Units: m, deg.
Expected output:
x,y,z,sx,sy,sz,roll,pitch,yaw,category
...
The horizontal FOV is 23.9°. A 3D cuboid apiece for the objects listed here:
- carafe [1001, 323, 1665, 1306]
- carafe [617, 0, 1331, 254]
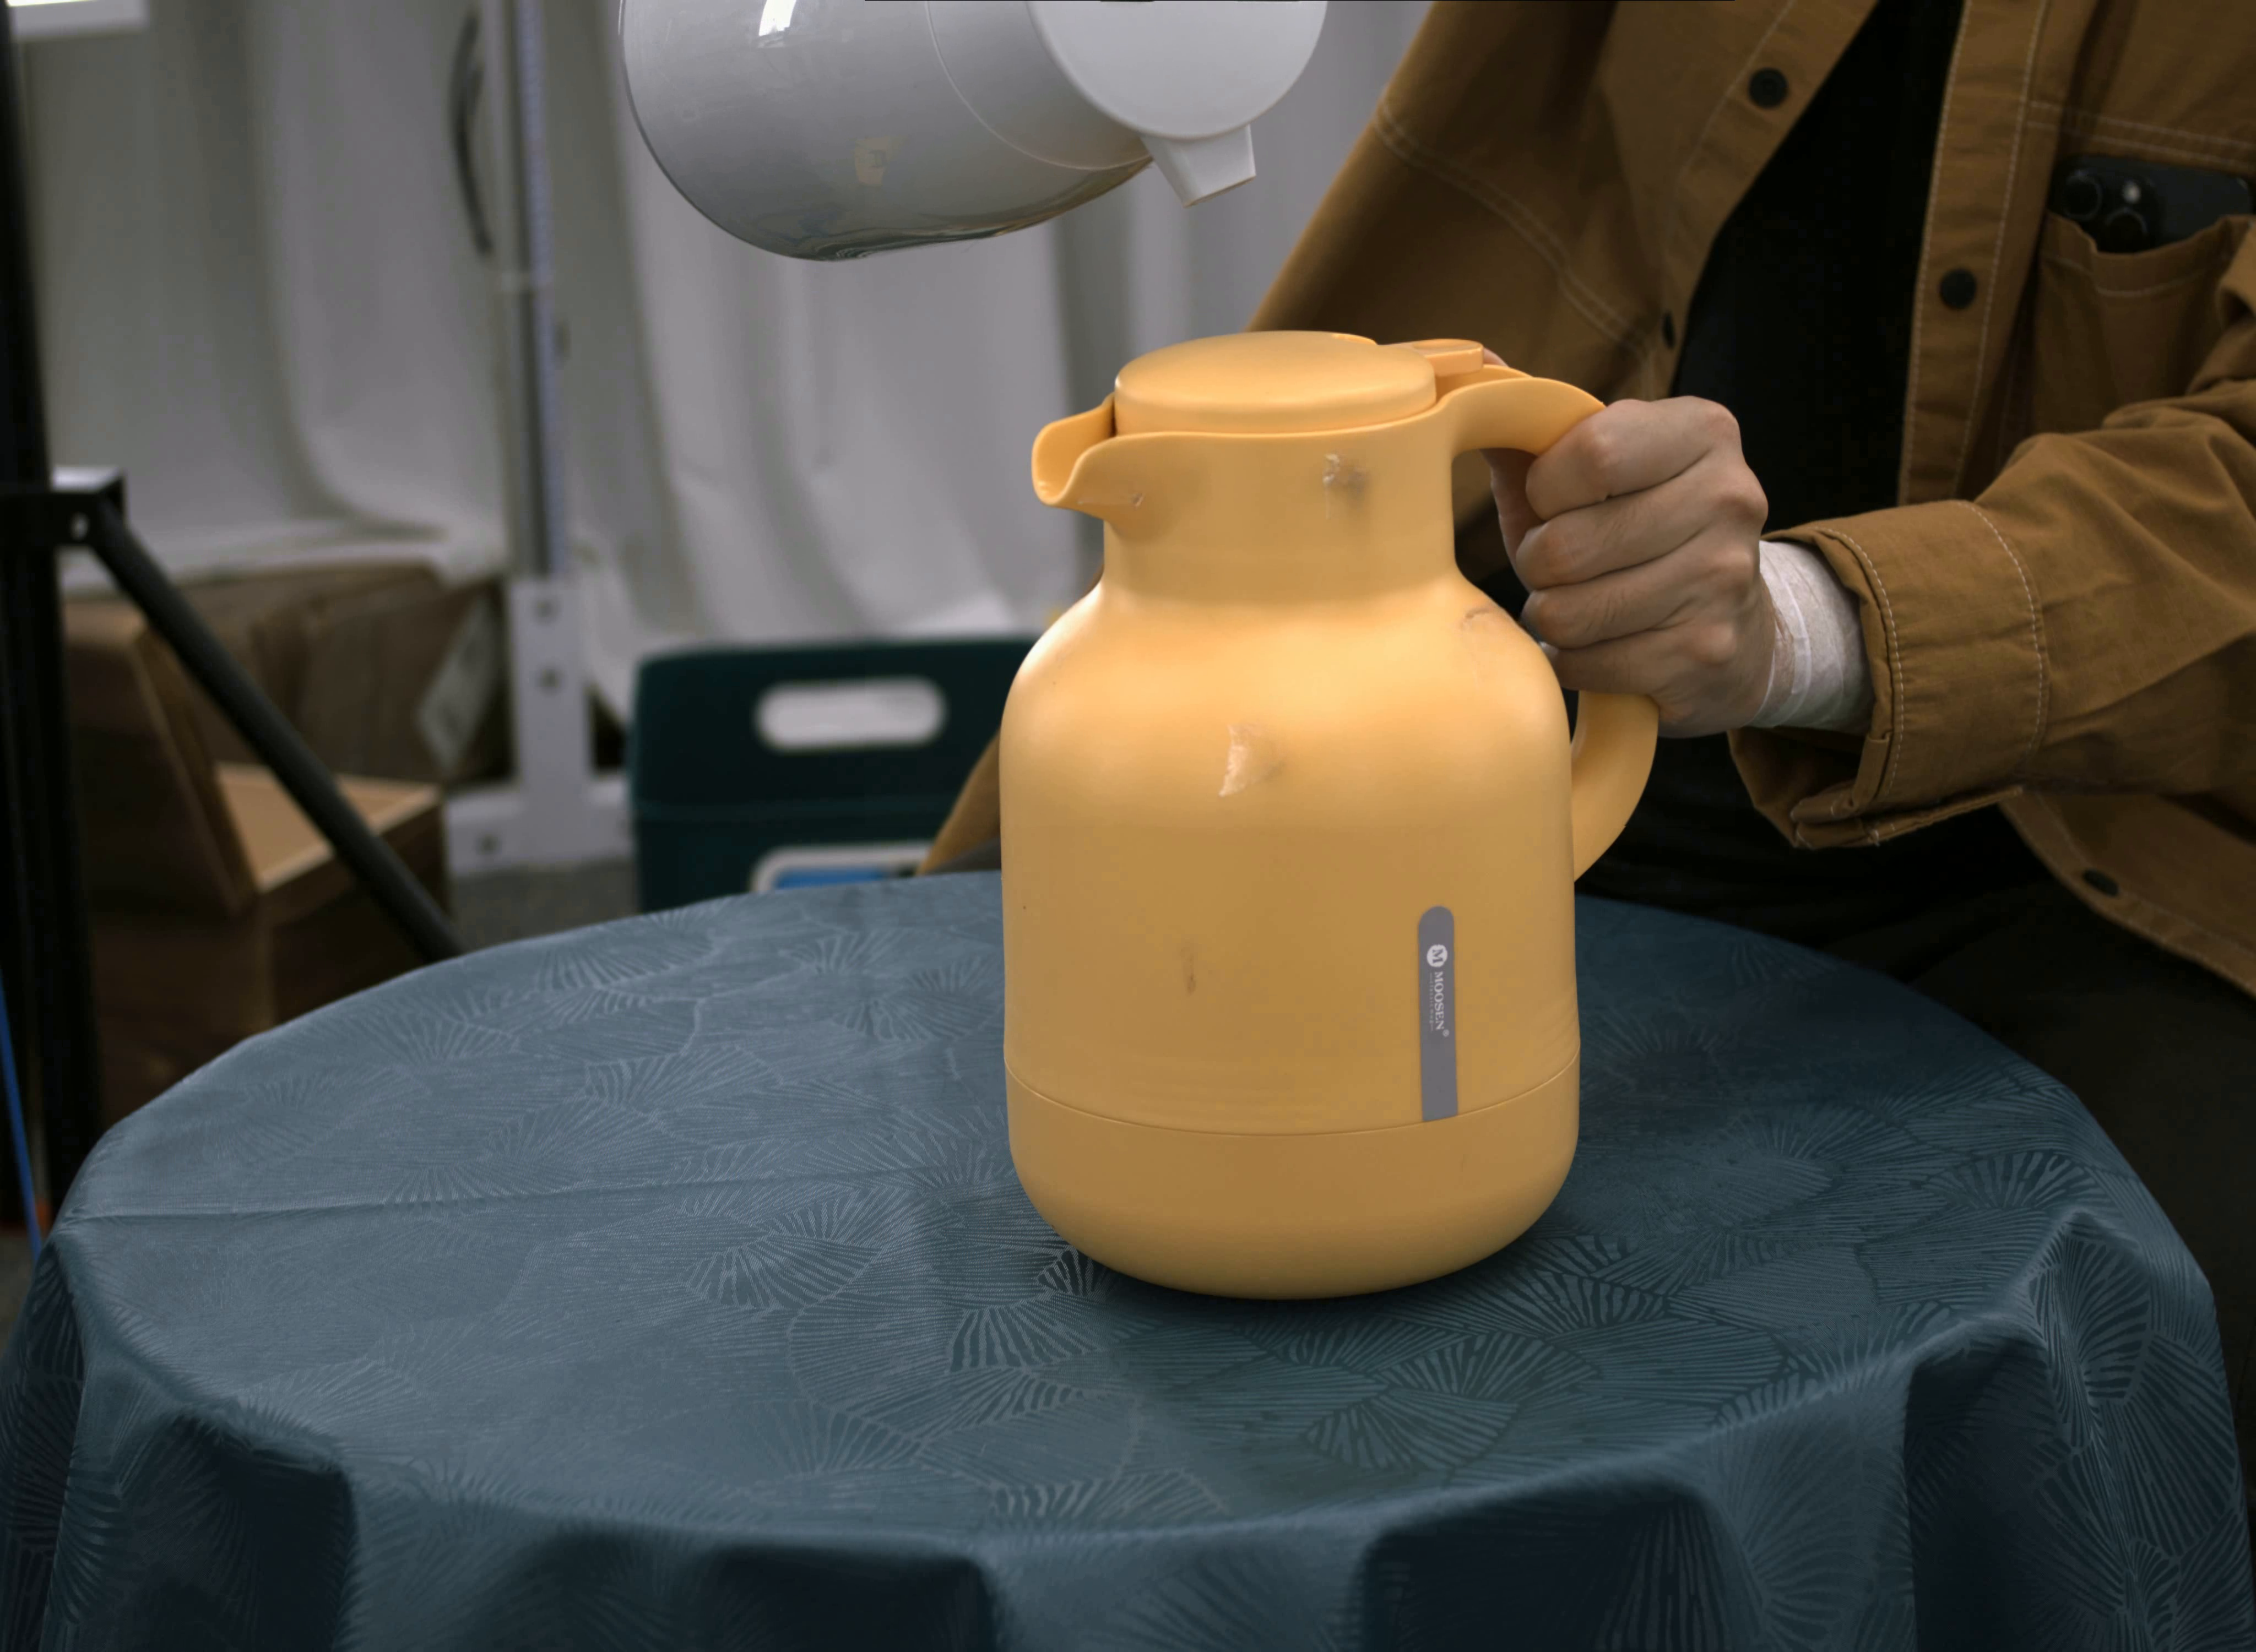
x,y,z,sx,sy,sz,roll,pitch,yaw,category
0.063,-0.010,1.487,0.198,0.260,0.167,-11,19,-25,carafe
-0.046,-0.252,1.516,0.130,0.167,0.253,-24,12,-23,carafe
